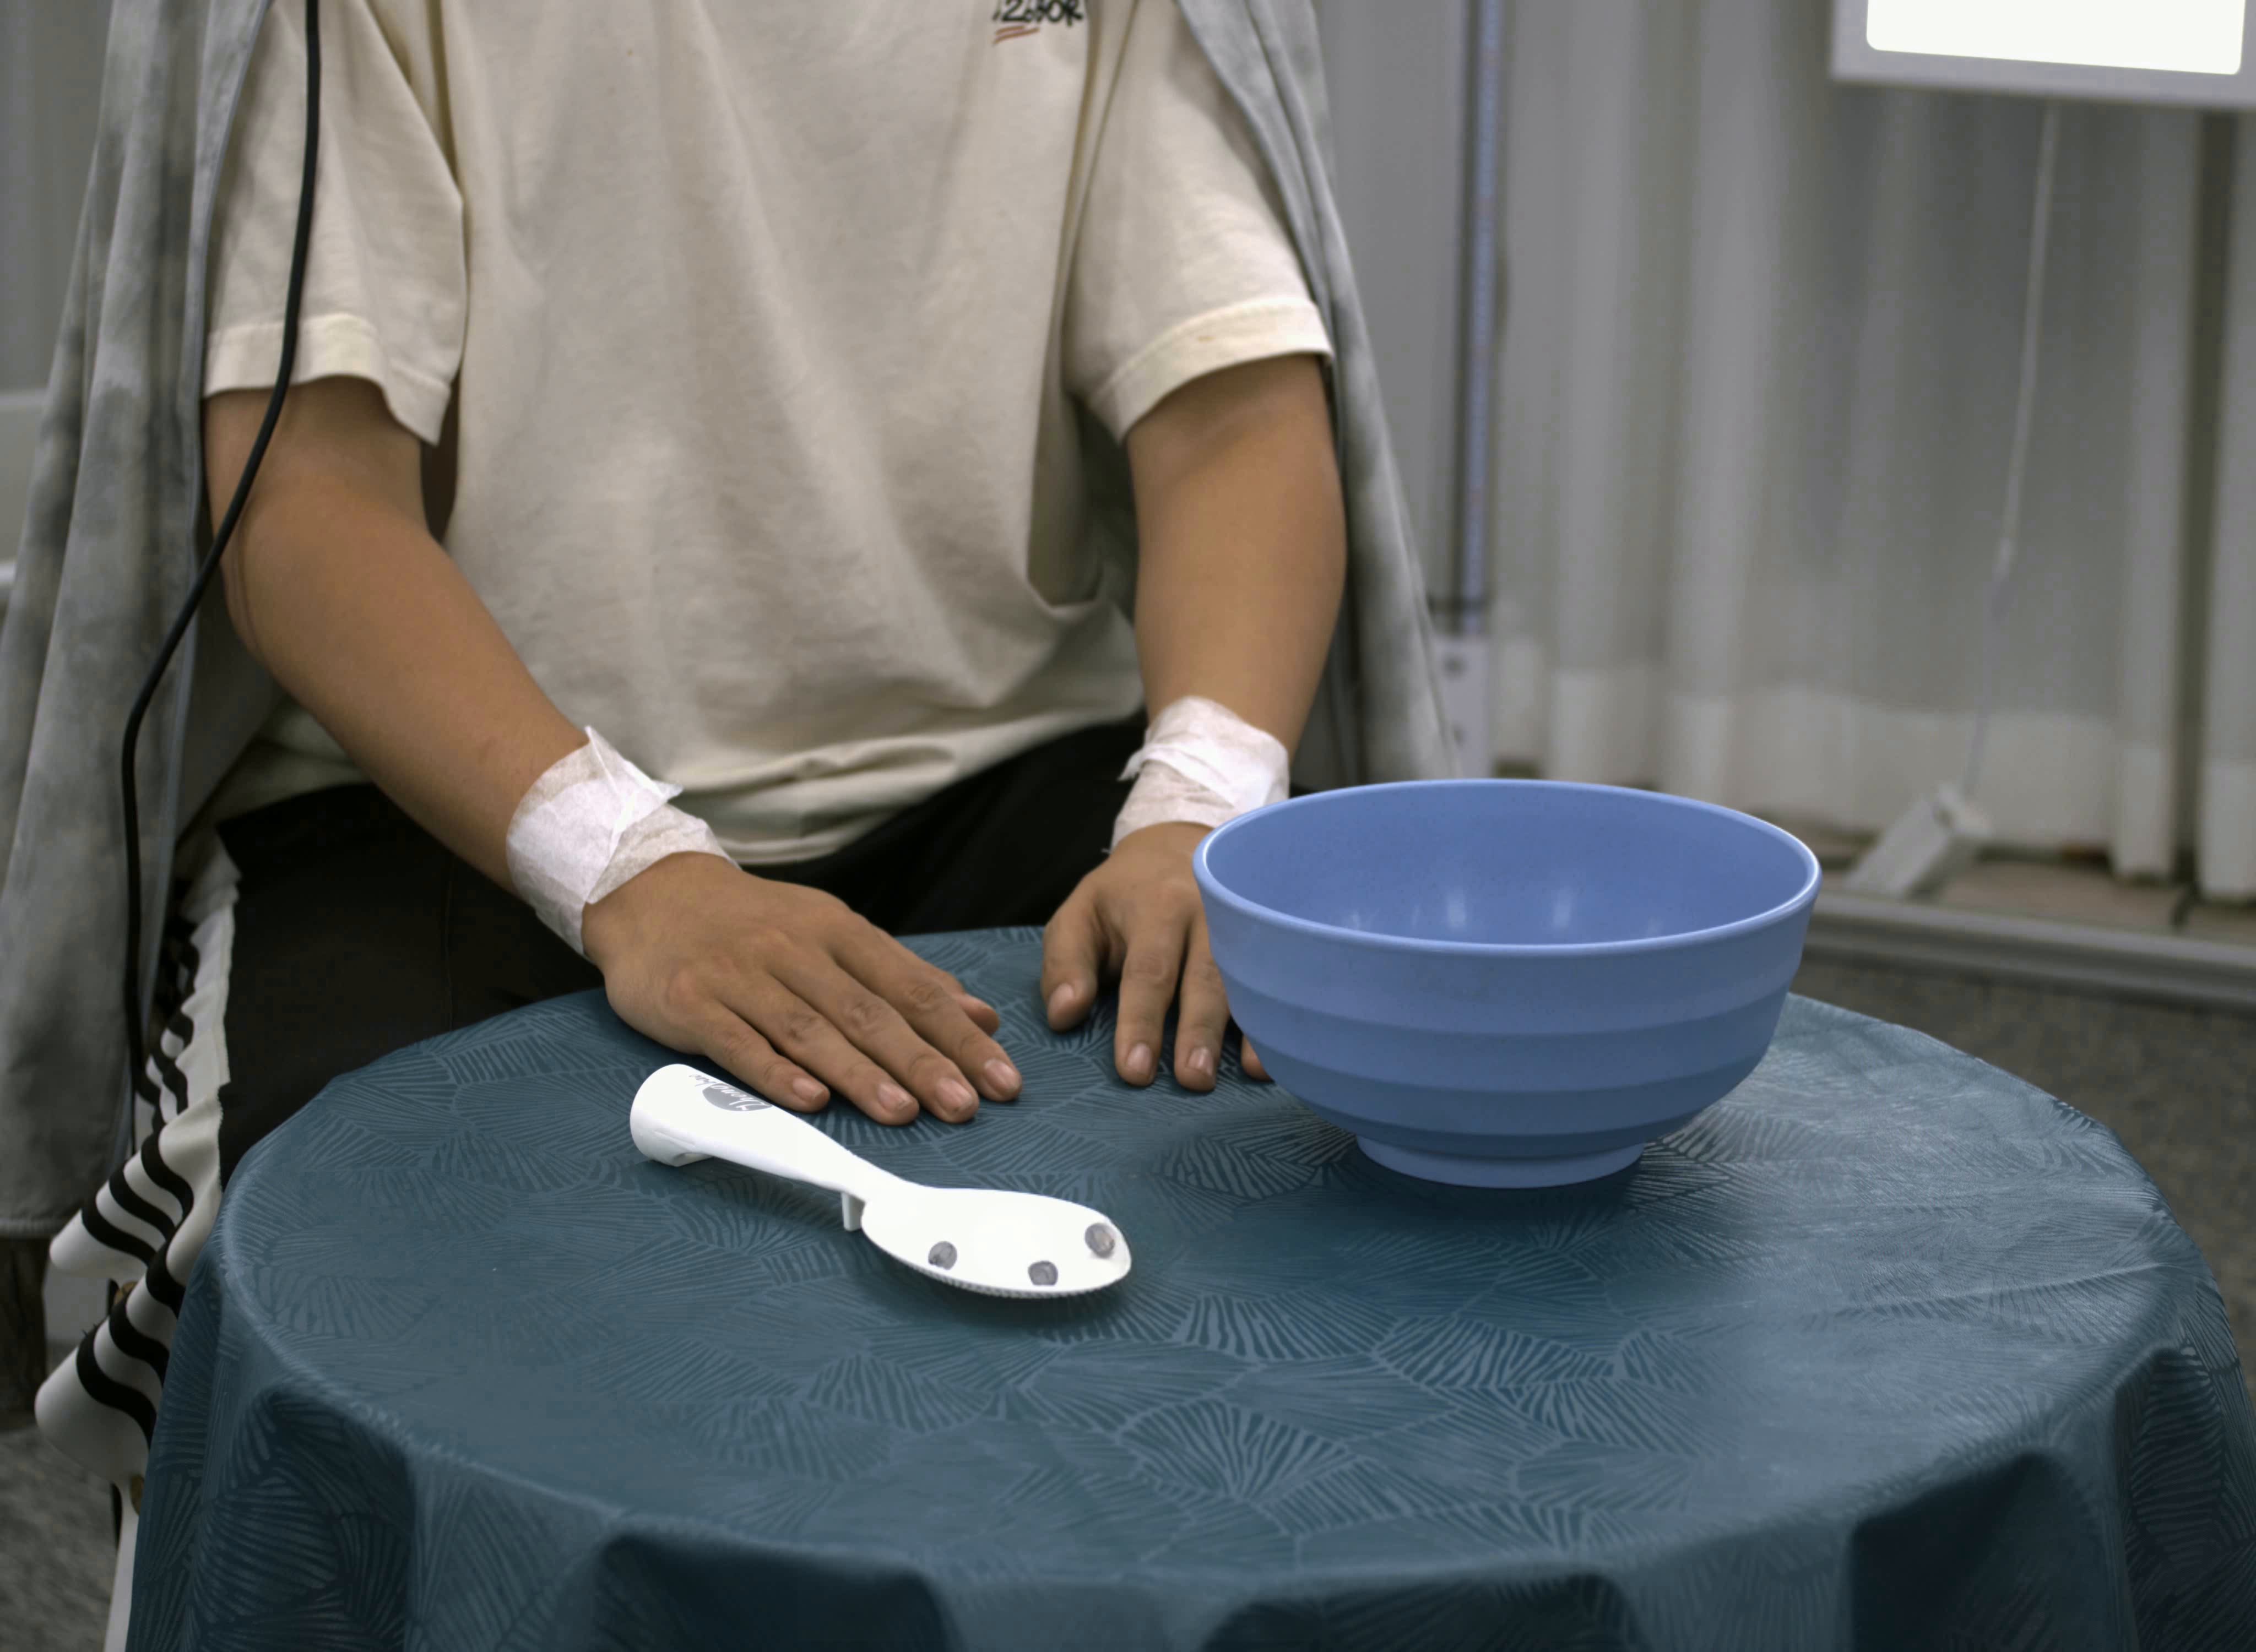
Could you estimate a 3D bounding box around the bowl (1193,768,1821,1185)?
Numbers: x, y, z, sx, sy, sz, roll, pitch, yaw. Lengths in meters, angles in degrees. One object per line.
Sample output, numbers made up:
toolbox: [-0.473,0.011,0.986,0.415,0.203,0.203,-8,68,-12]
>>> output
bowl: [0.118,0.053,1.661,0.196,0.096,0.195,0,18,0]

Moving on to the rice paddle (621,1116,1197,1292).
rice paddle: [-0.066,0.115,1.575,0.203,0.029,0.069,8,4,36]
